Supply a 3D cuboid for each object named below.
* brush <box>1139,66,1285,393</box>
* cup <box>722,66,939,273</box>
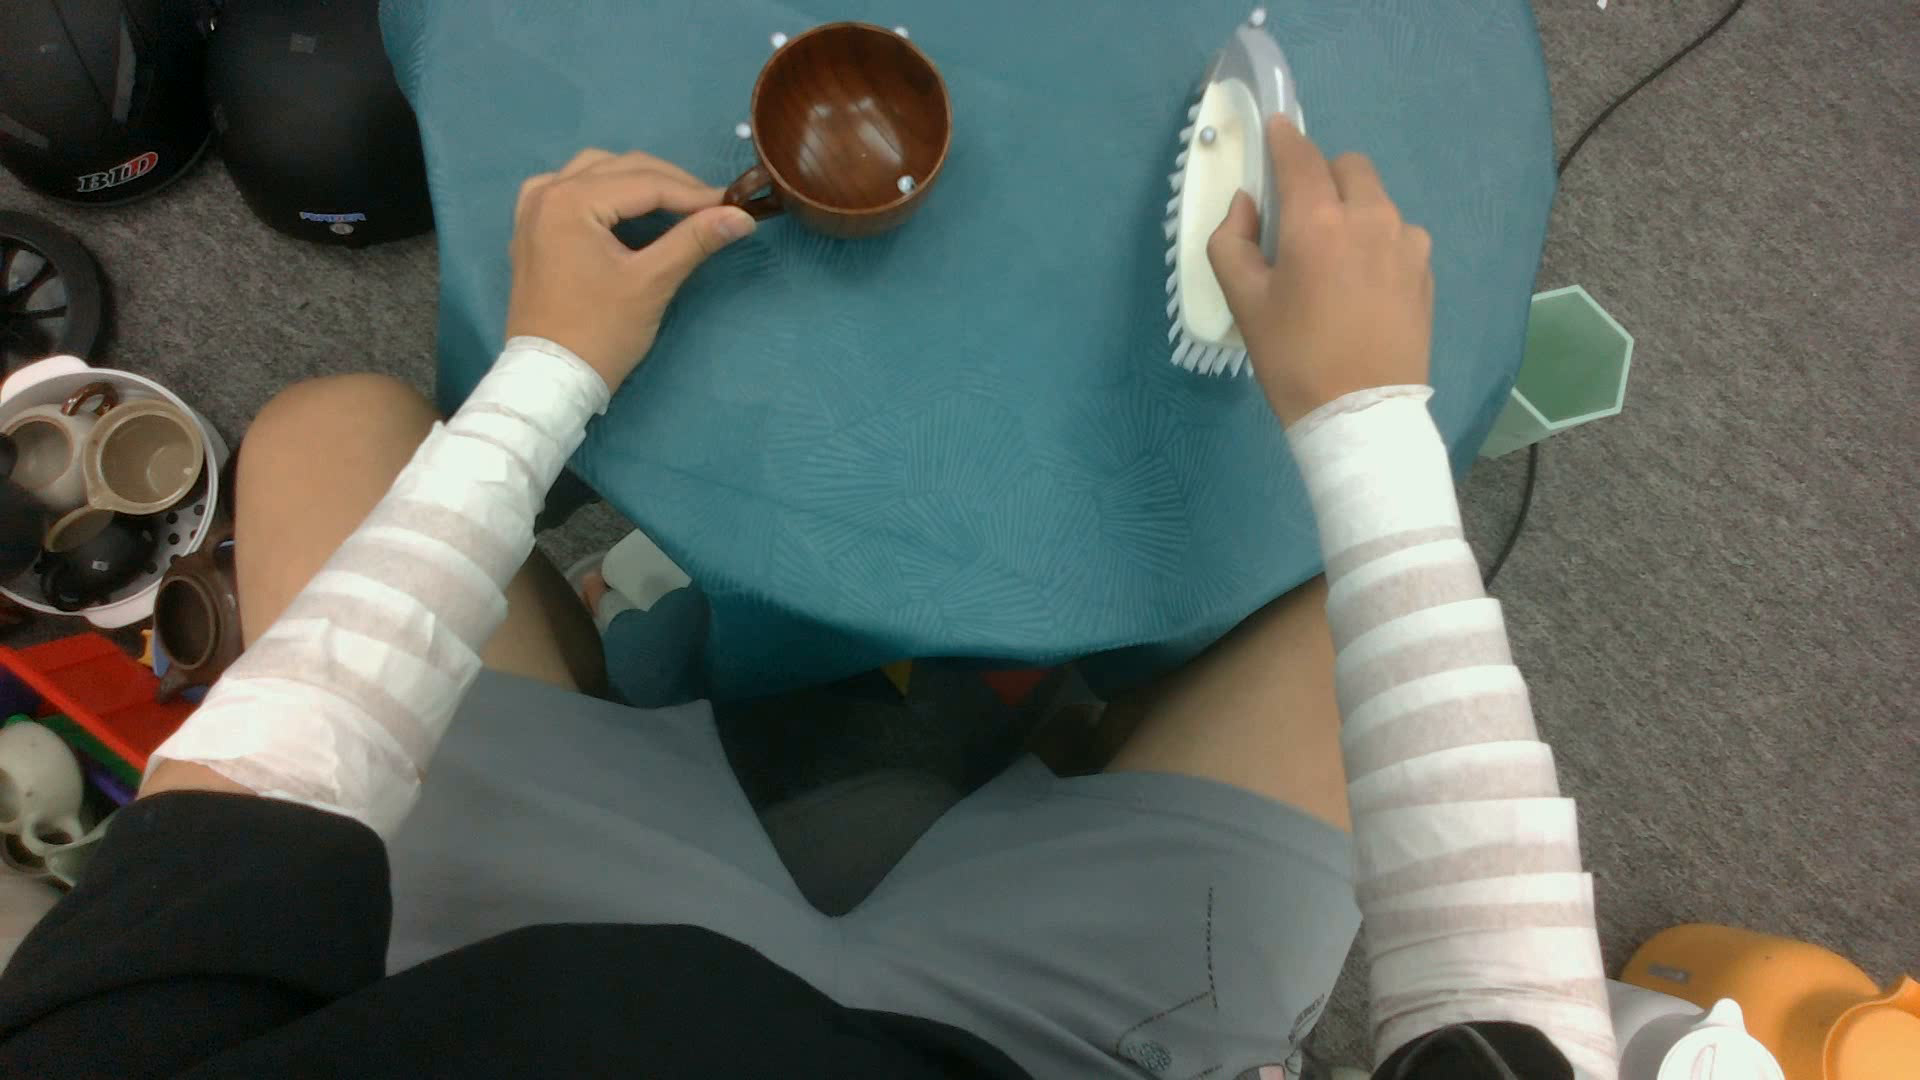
[{"bbox_3d":[0.130,-0.170,0.692,0.061,0.094,0.176,3,71,-11],"label":"brush"},{"bbox_3d":[-0.070,-0.173,0.693,0.119,0.067,0.096,-38,87,-9],"label":"cup"}]
